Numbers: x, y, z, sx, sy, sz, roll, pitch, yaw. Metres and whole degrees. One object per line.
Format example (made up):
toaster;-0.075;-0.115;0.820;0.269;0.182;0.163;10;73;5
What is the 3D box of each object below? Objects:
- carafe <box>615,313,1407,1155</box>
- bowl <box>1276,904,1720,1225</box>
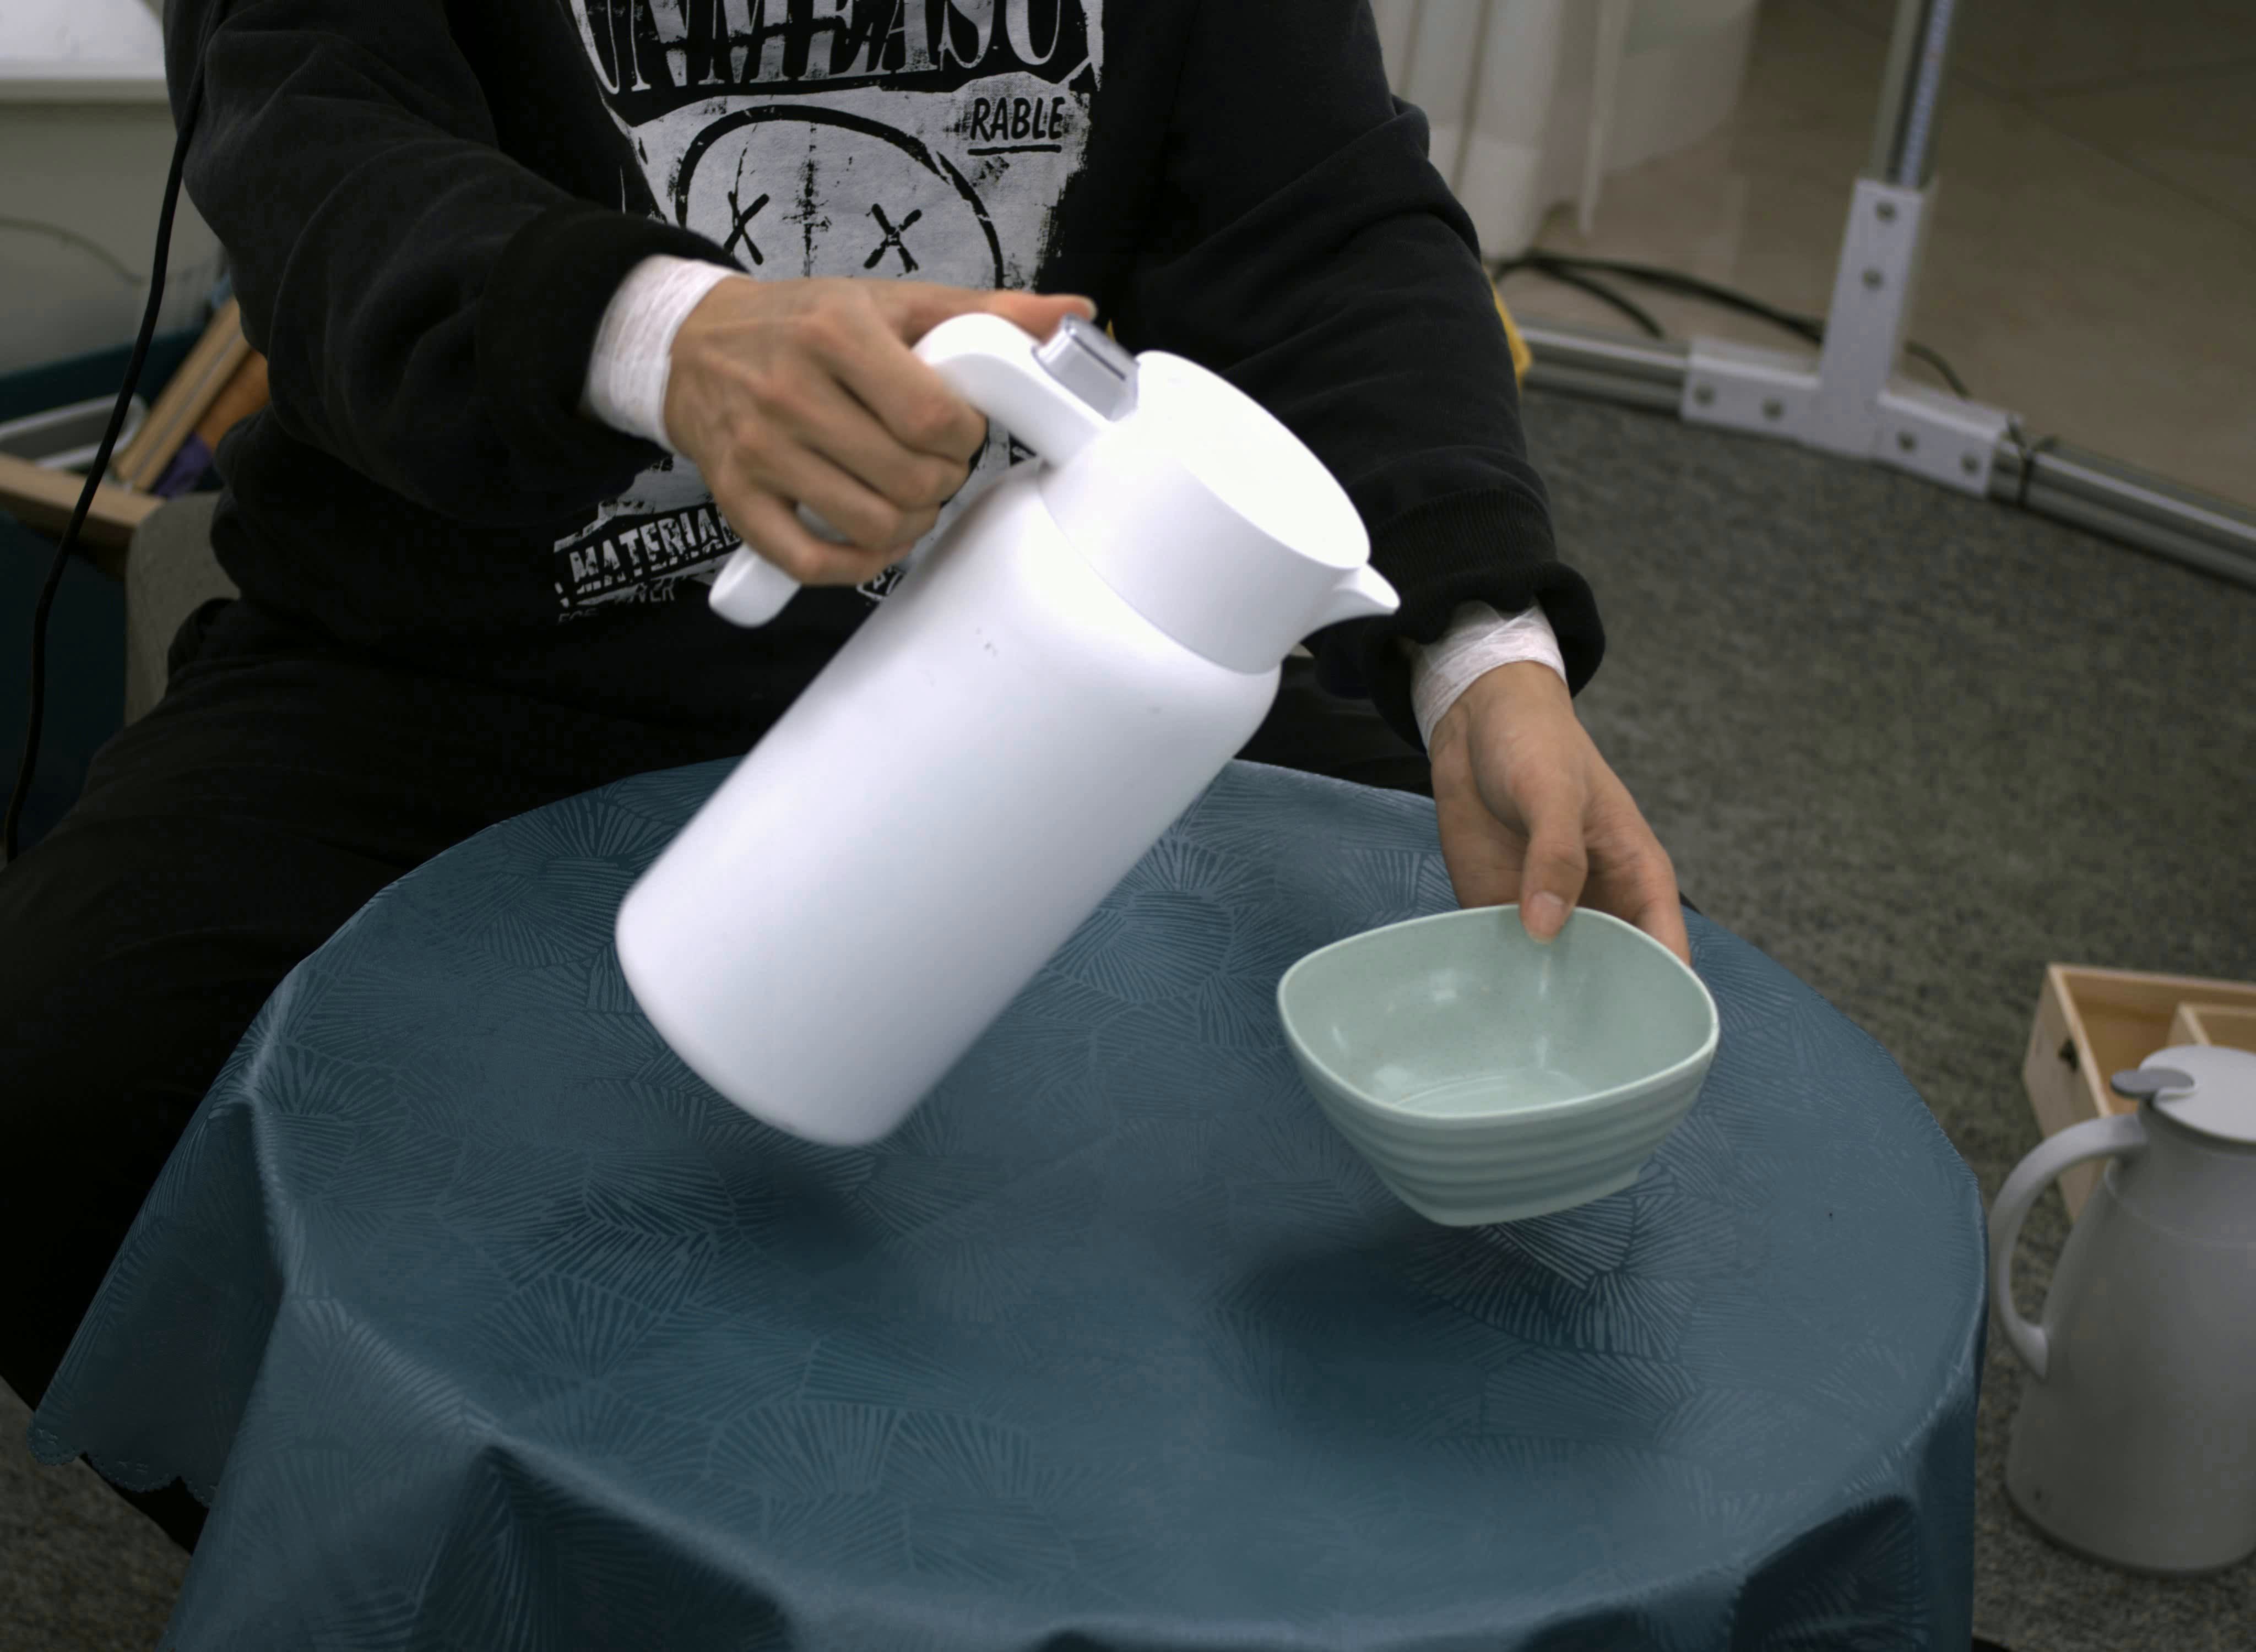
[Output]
carafe;-0.058;-0.033;1.702;0.172;0.268;0.124;35;23;-15
bowl;0.122;0.085;1.765;0.151;0.058;0.152;-2;27;1
